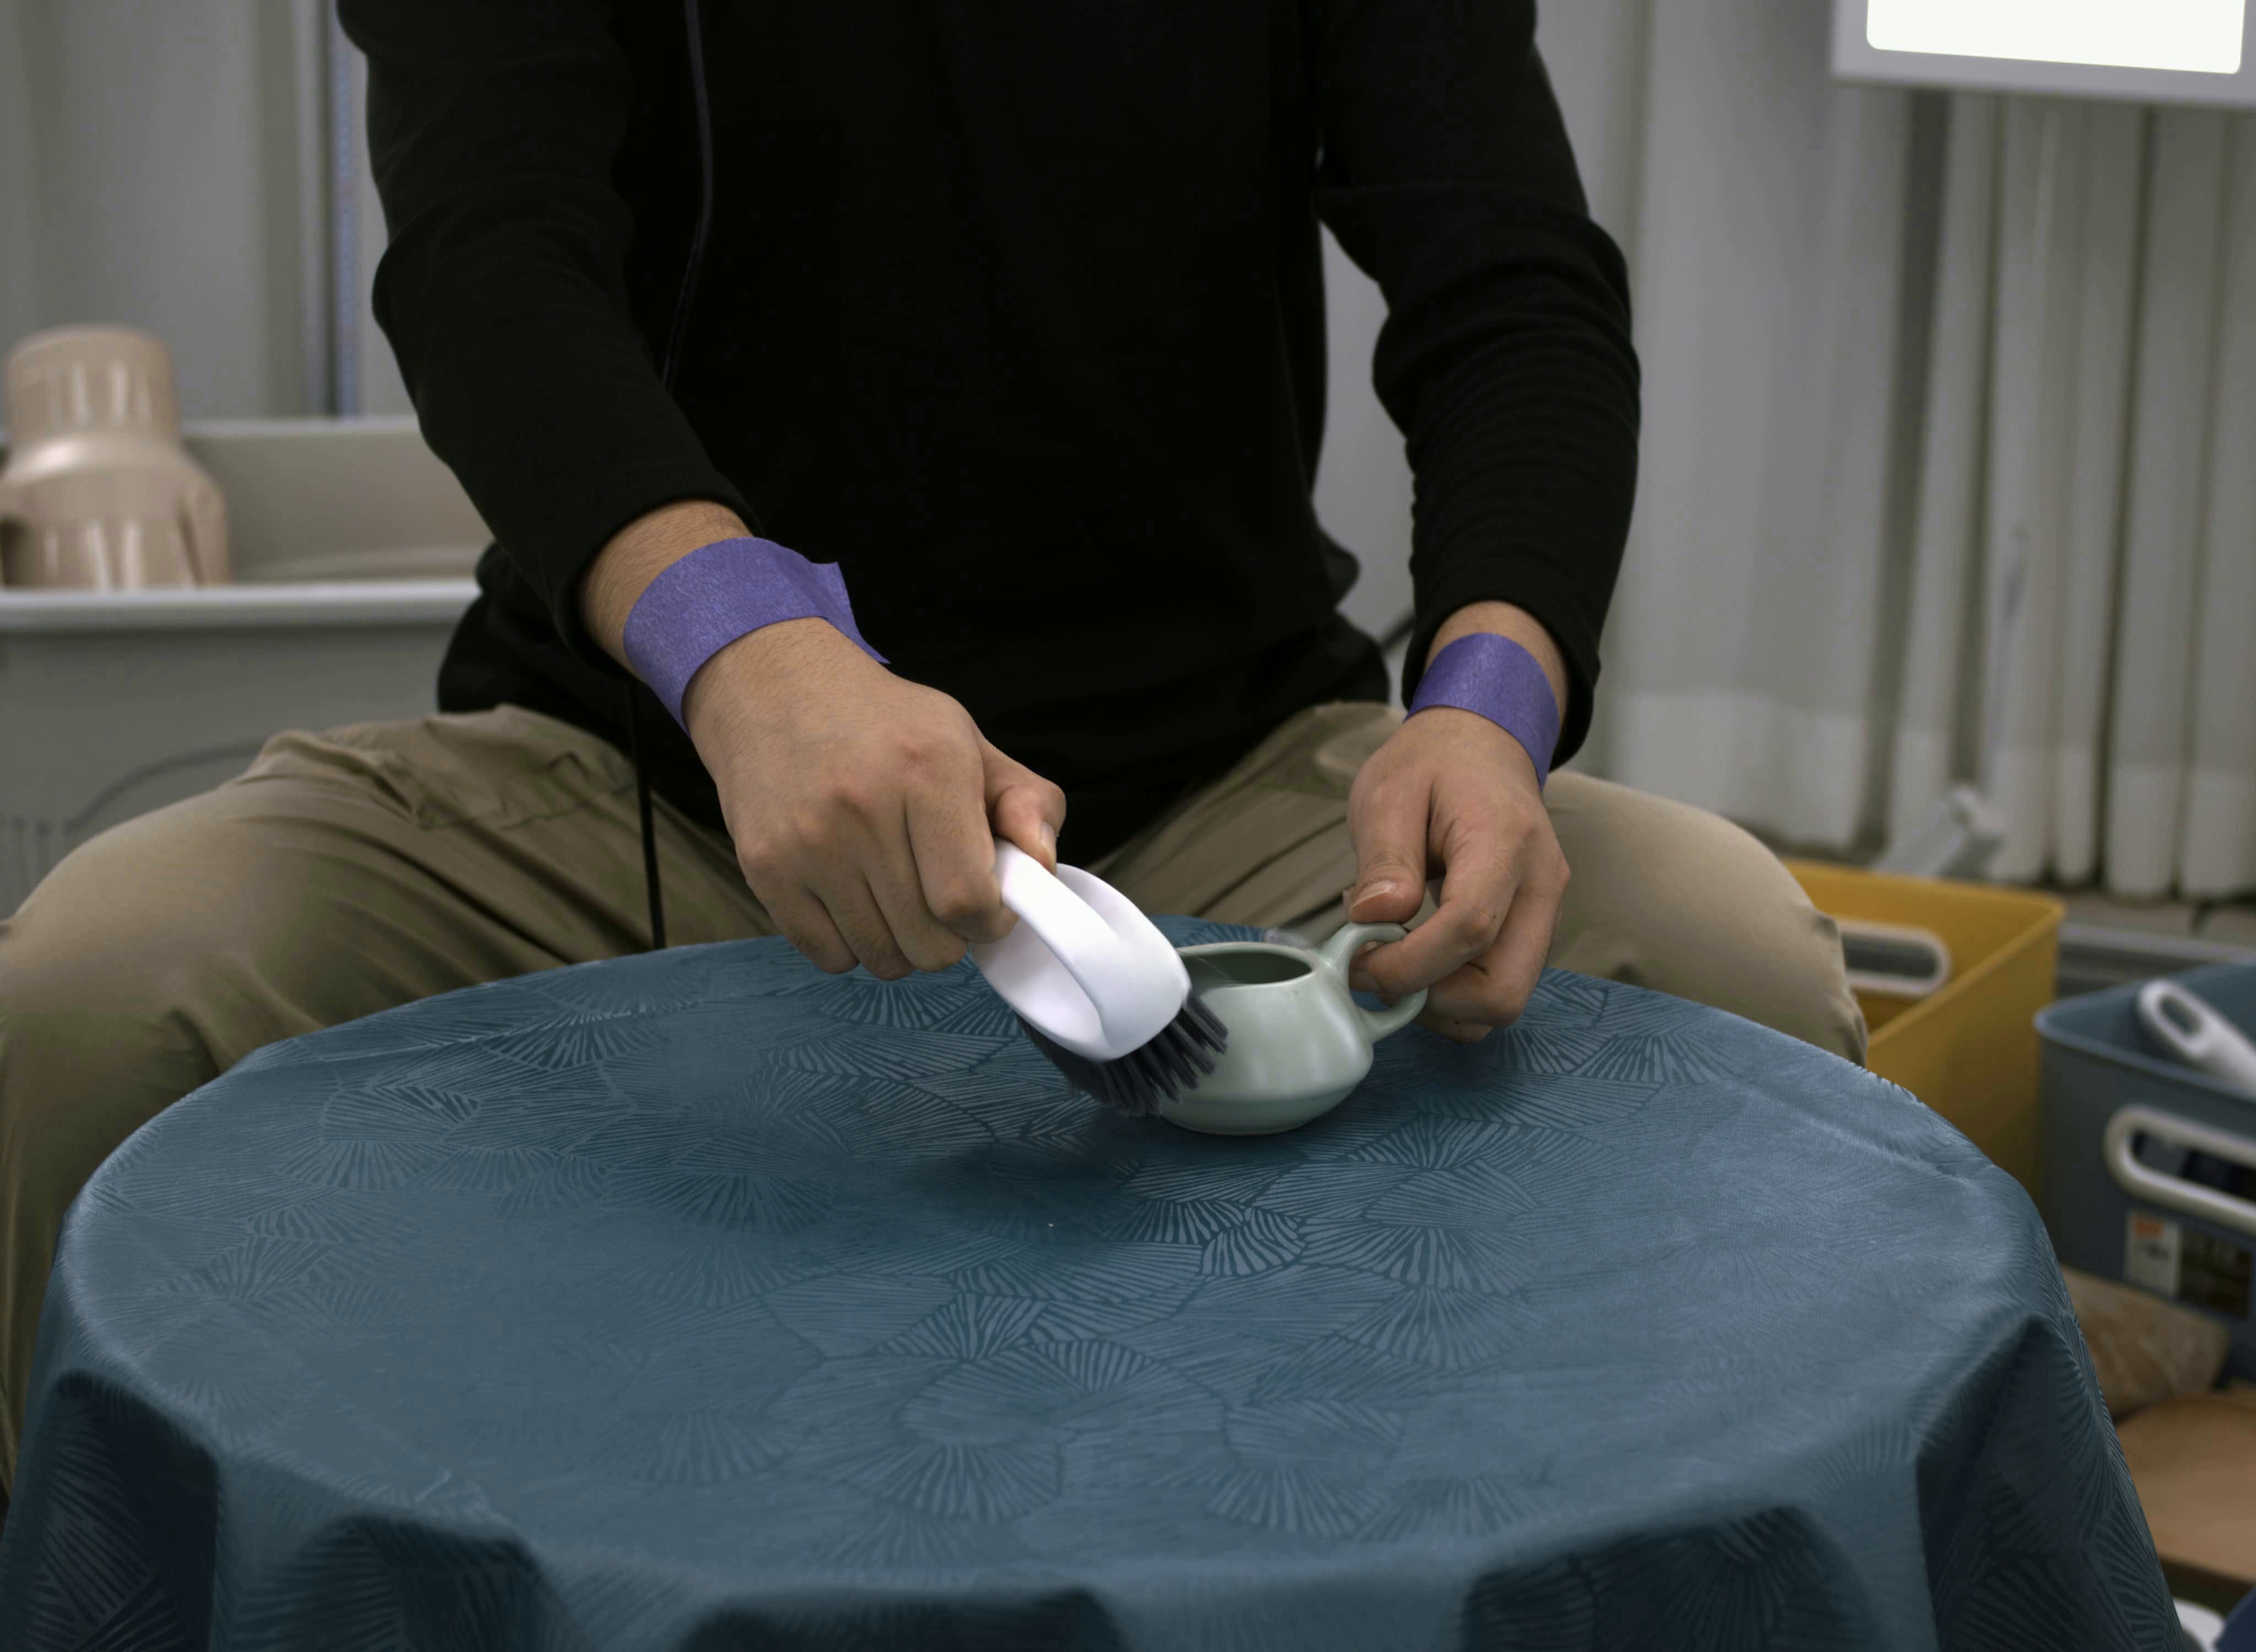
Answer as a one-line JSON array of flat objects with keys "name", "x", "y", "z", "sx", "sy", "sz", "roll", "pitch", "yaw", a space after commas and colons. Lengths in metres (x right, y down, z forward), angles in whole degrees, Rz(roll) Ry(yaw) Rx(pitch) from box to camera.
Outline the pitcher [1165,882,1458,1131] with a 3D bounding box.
[{"name": "pitcher", "x": 0.057, "y": 0.059, "z": 1.695, "sx": 0.108, "sy": 0.061, "sz": 0.085, "roll": -19, "pitch": 8, "yaw": -7}]

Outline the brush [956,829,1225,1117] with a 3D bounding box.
[{"name": "brush", "x": -0.020, "y": 0.037, "z": 1.622, "sx": 0.050, "sy": 0.073, "sz": 0.098, "roll": -39, "pitch": 39, "yaw": -6}]
